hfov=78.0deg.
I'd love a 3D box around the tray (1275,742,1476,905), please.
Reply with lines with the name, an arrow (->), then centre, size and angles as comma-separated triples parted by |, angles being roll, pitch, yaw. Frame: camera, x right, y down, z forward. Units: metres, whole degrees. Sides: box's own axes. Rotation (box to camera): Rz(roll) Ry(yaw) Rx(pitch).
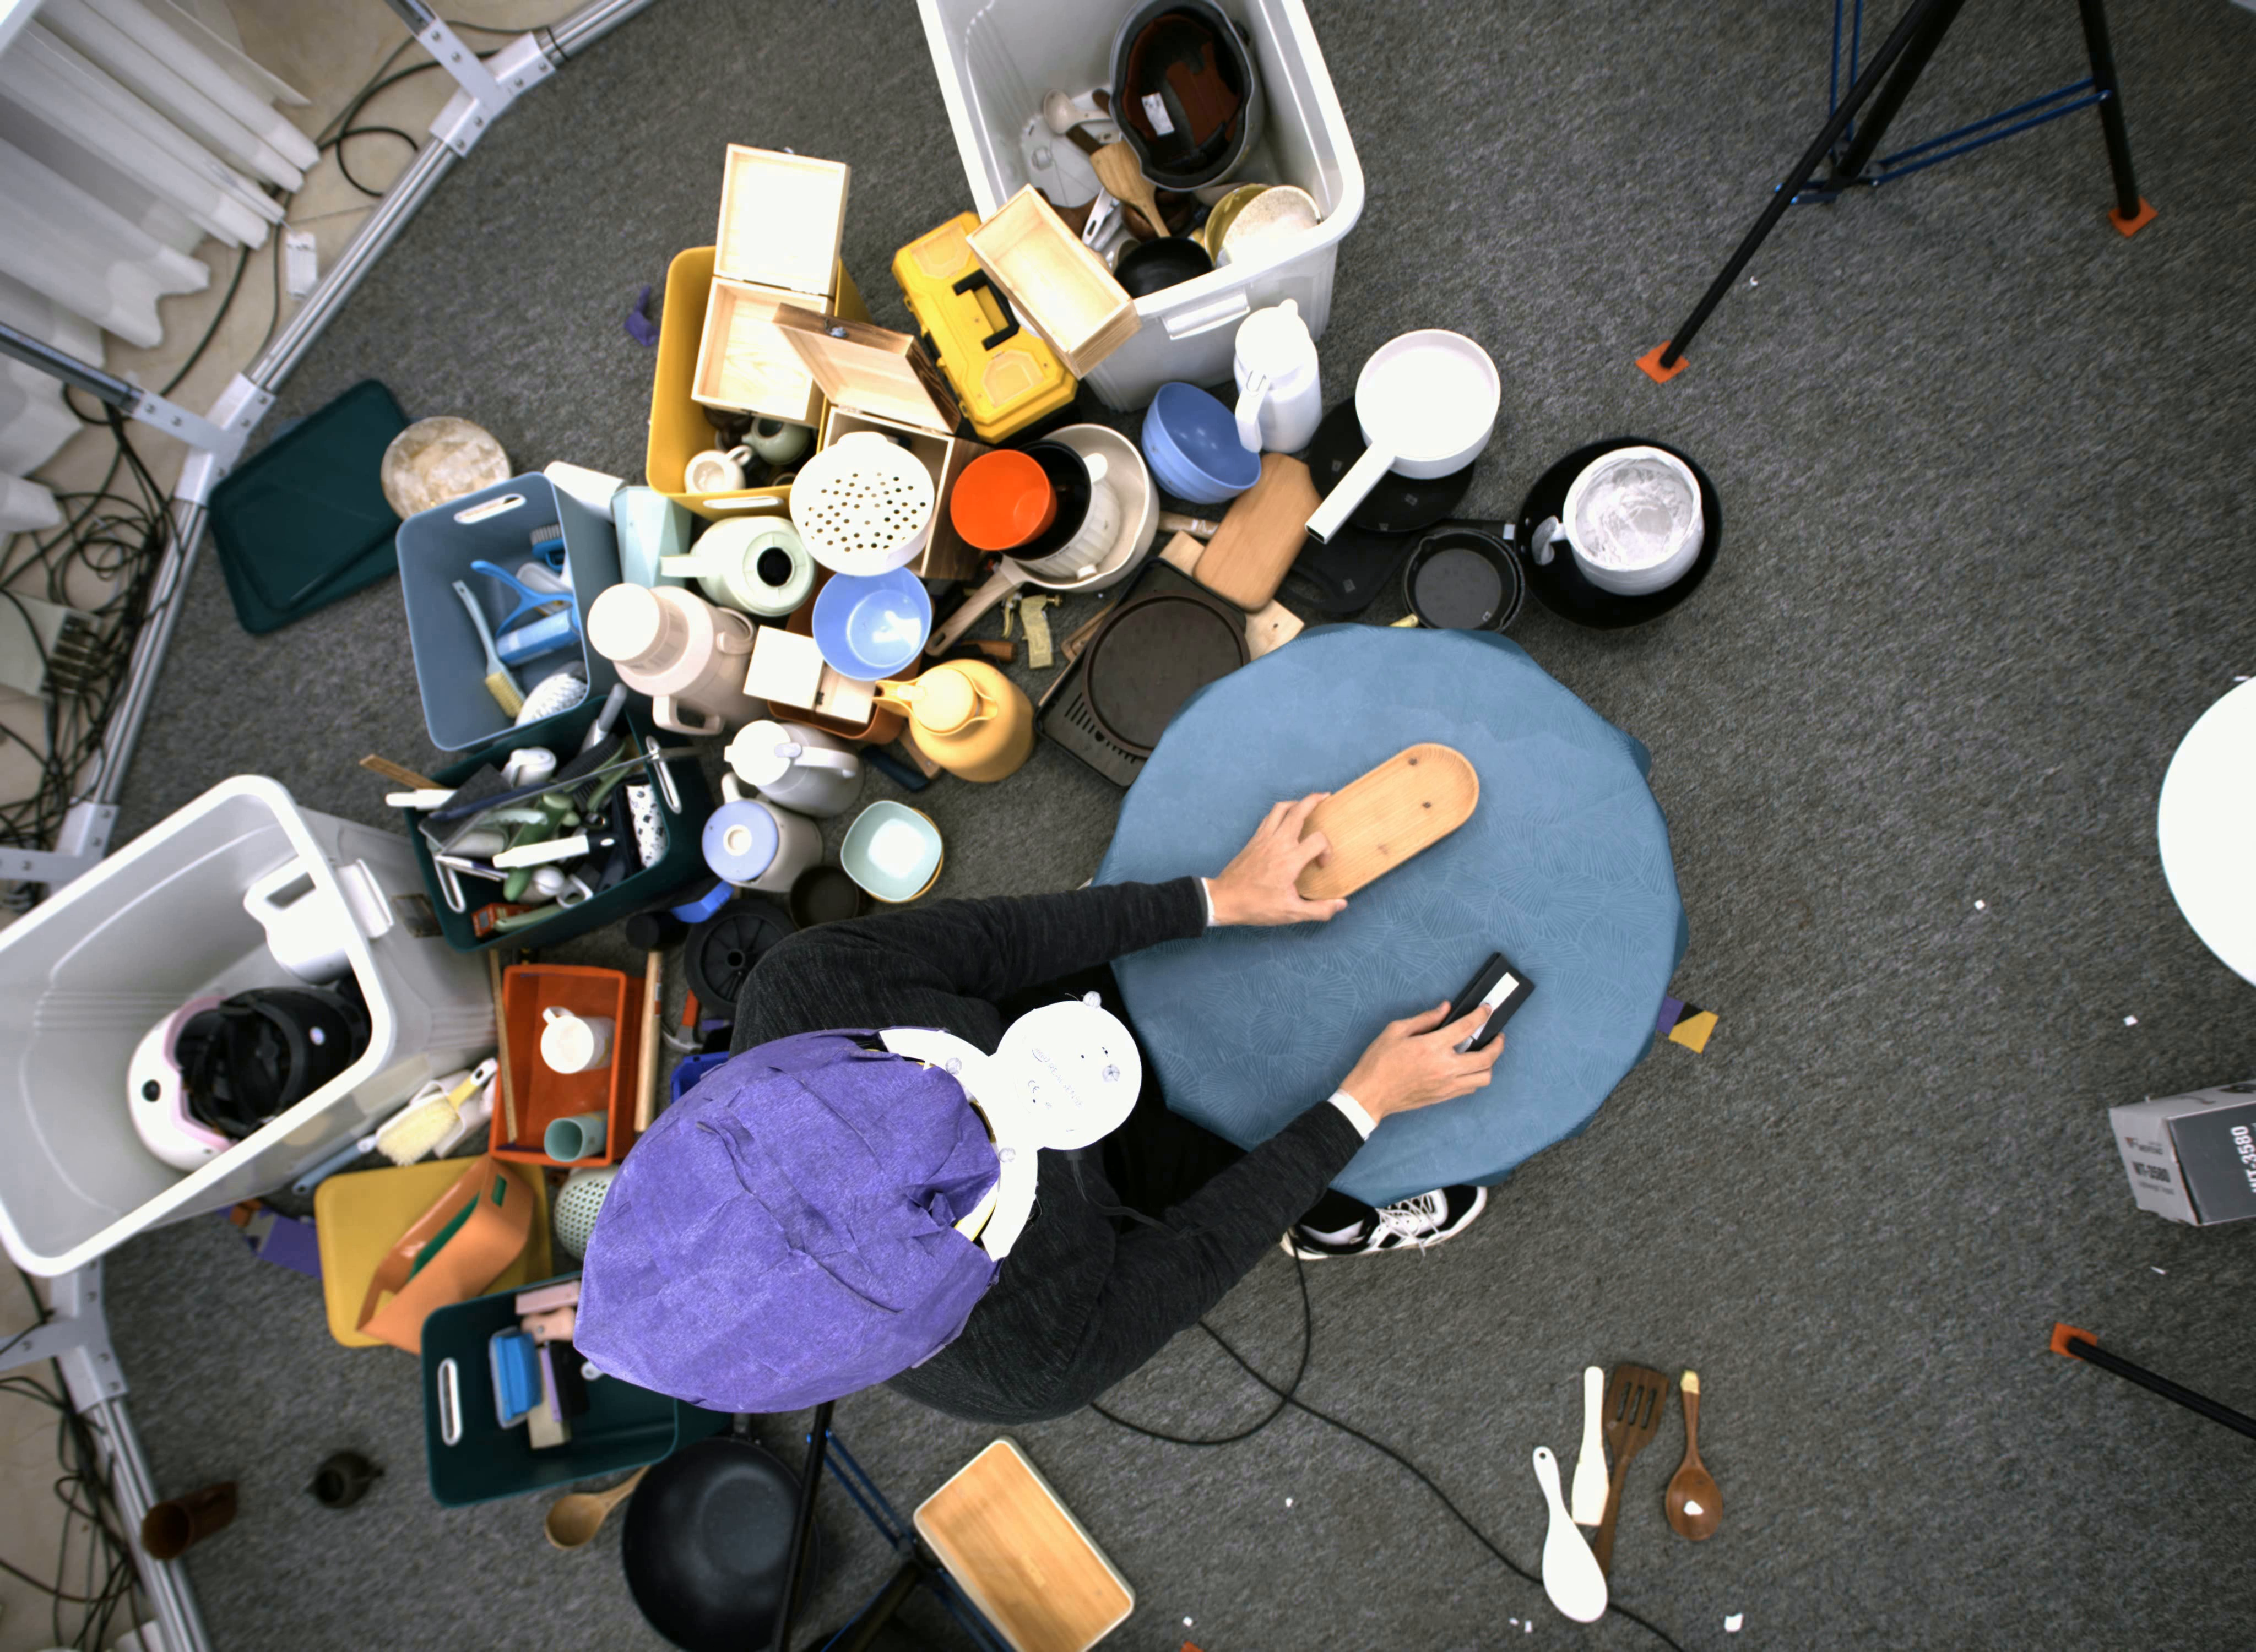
tray -> 0.259, -0.003, 1.445 | 0.232, 0.020, 0.100 | -34, 71, 3

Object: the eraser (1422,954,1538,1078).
eraser -> 0.362, 0.192, 1.420 | 0.053, 0.030, 0.126 | 39, 94, 8
